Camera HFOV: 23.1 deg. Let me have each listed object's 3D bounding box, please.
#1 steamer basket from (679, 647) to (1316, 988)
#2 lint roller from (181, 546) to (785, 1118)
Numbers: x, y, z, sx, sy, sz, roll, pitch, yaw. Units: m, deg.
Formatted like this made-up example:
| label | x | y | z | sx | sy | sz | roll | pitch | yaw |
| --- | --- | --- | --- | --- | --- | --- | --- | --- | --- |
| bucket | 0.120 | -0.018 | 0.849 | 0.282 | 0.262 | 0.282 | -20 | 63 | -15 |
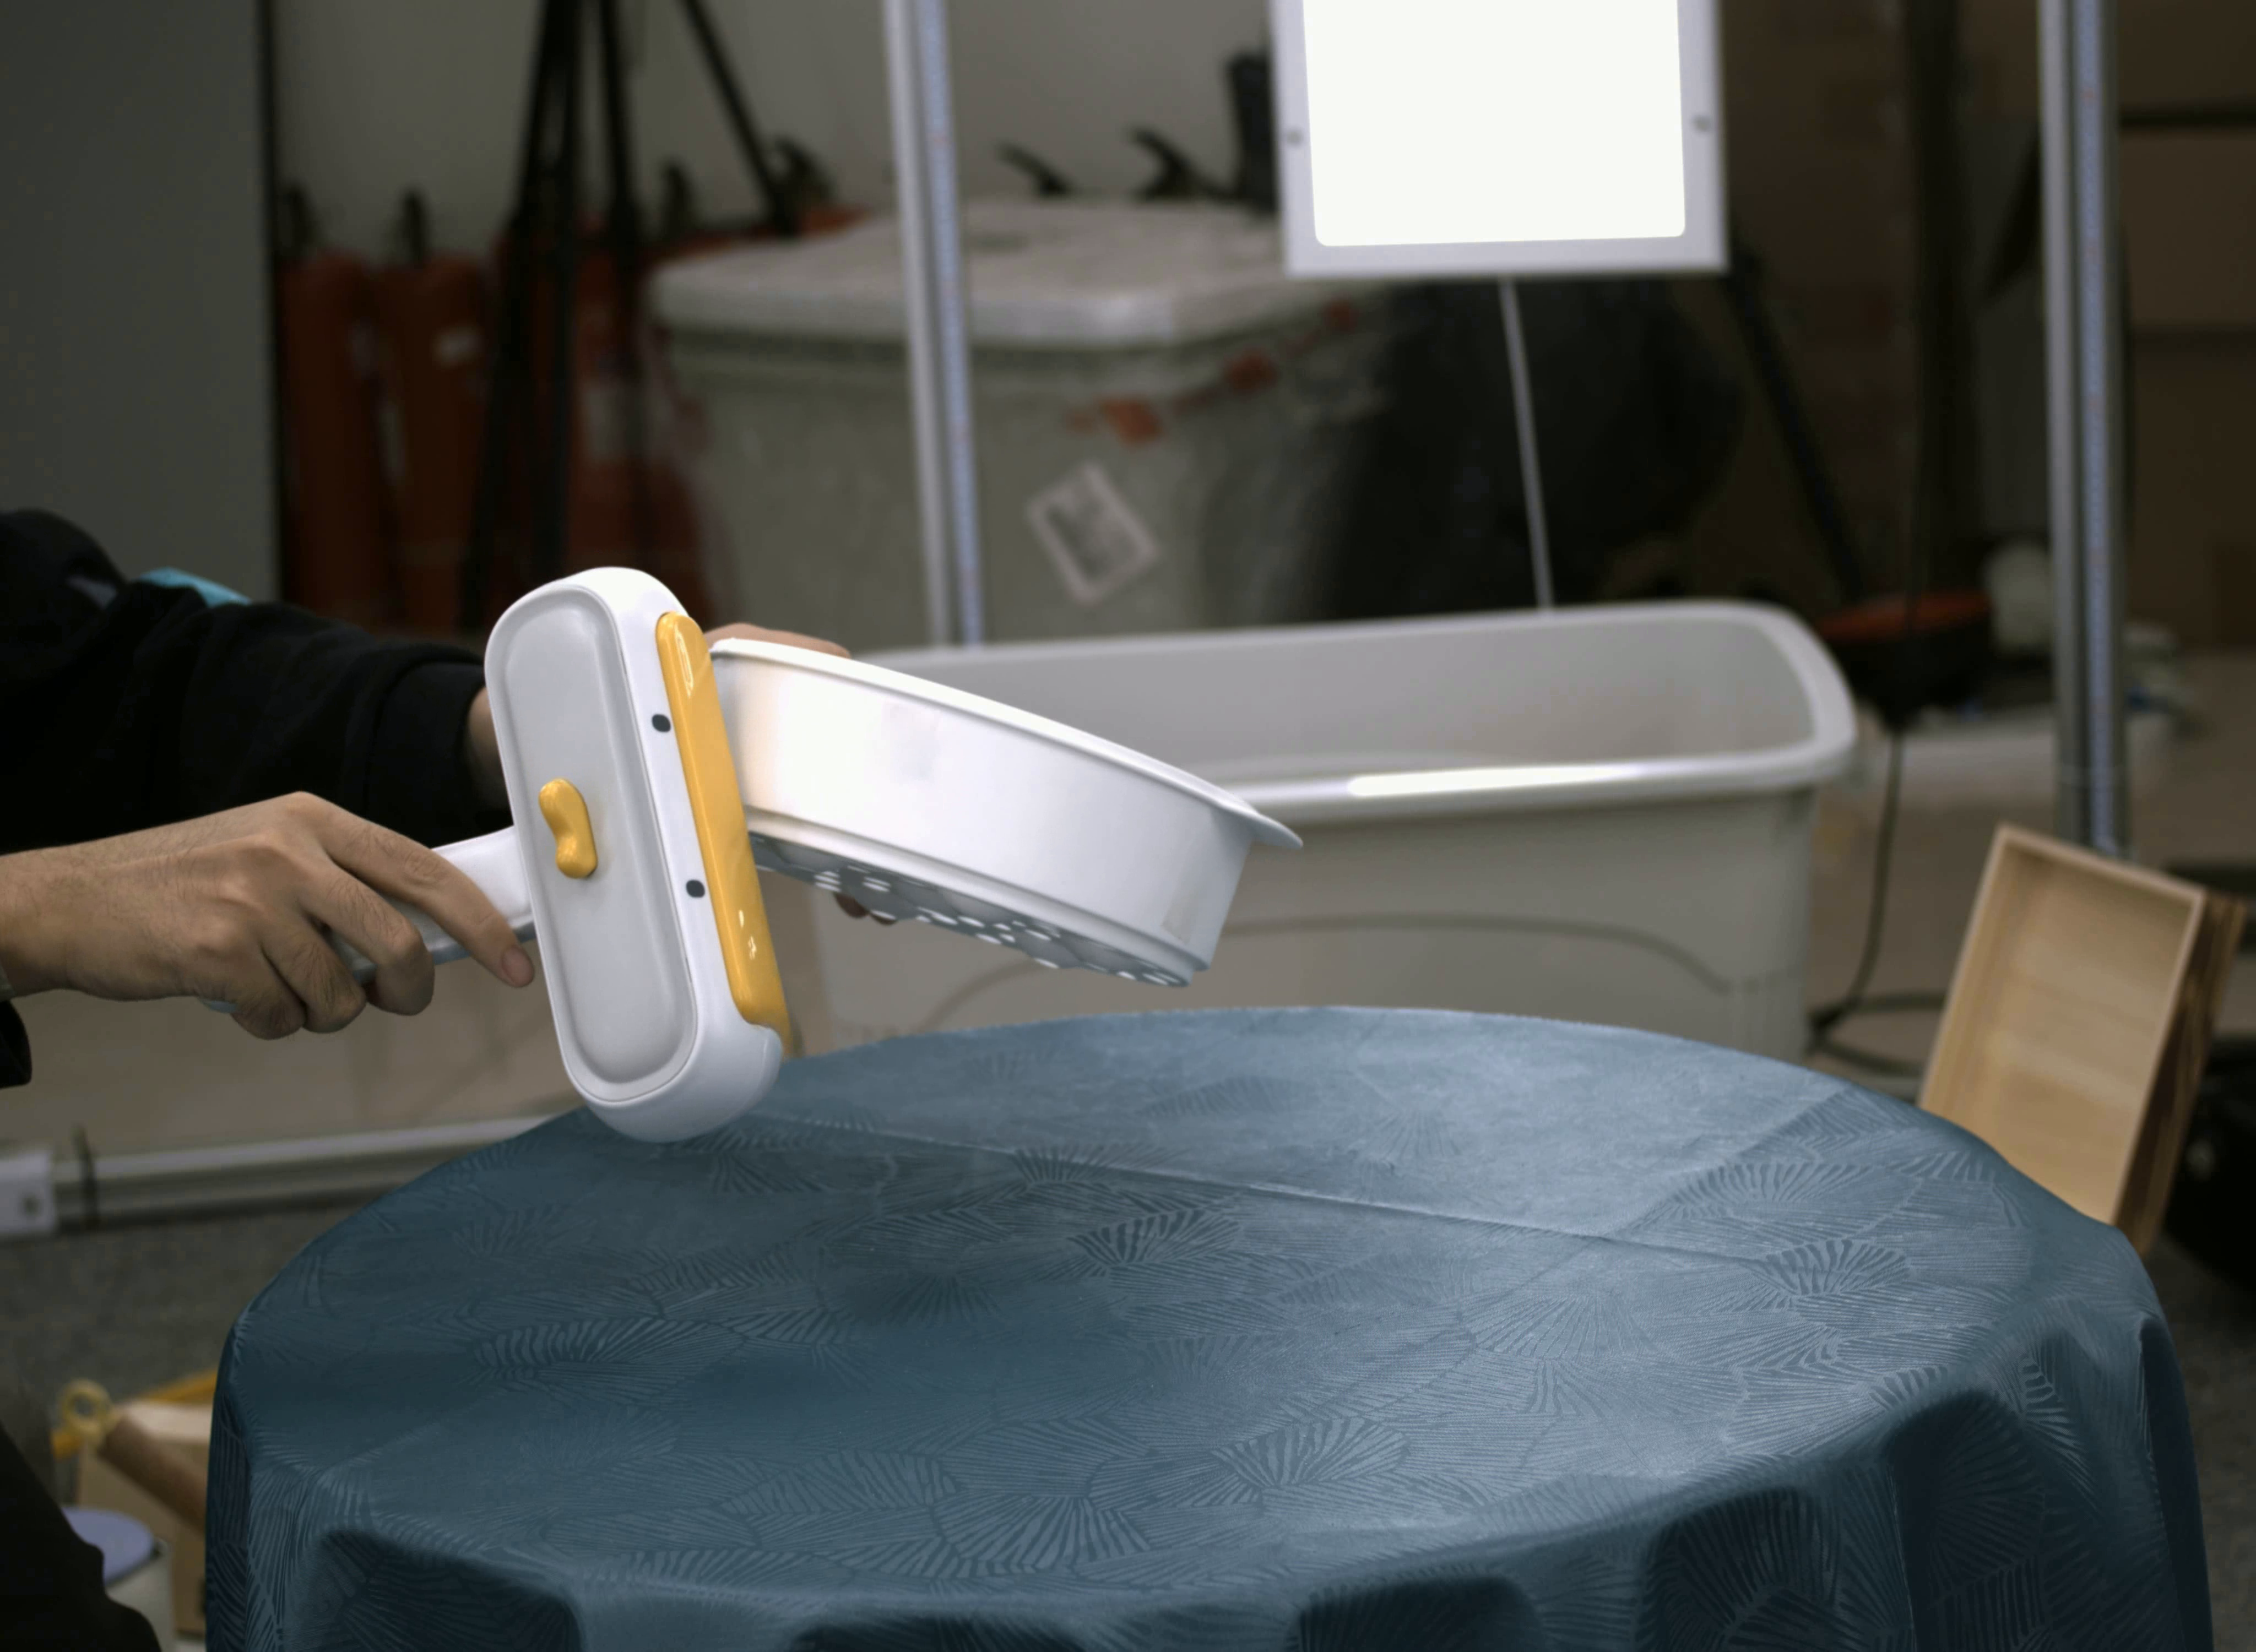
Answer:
| label | x | y | z | sx | sy | sz | roll | pitch | yaw |
| --- | --- | --- | --- | --- | --- | --- | --- | --- | --- |
| steamer basket | -0.054 | 0.001 | 1.866 | 0.233 | 0.069 | 0.200 | 14 | -7 | 16 |
| lint roller | -0.218 | 0.022 | 1.812 | 0.195 | 0.193 | 0.073 | -23 | -14 | 18 |
